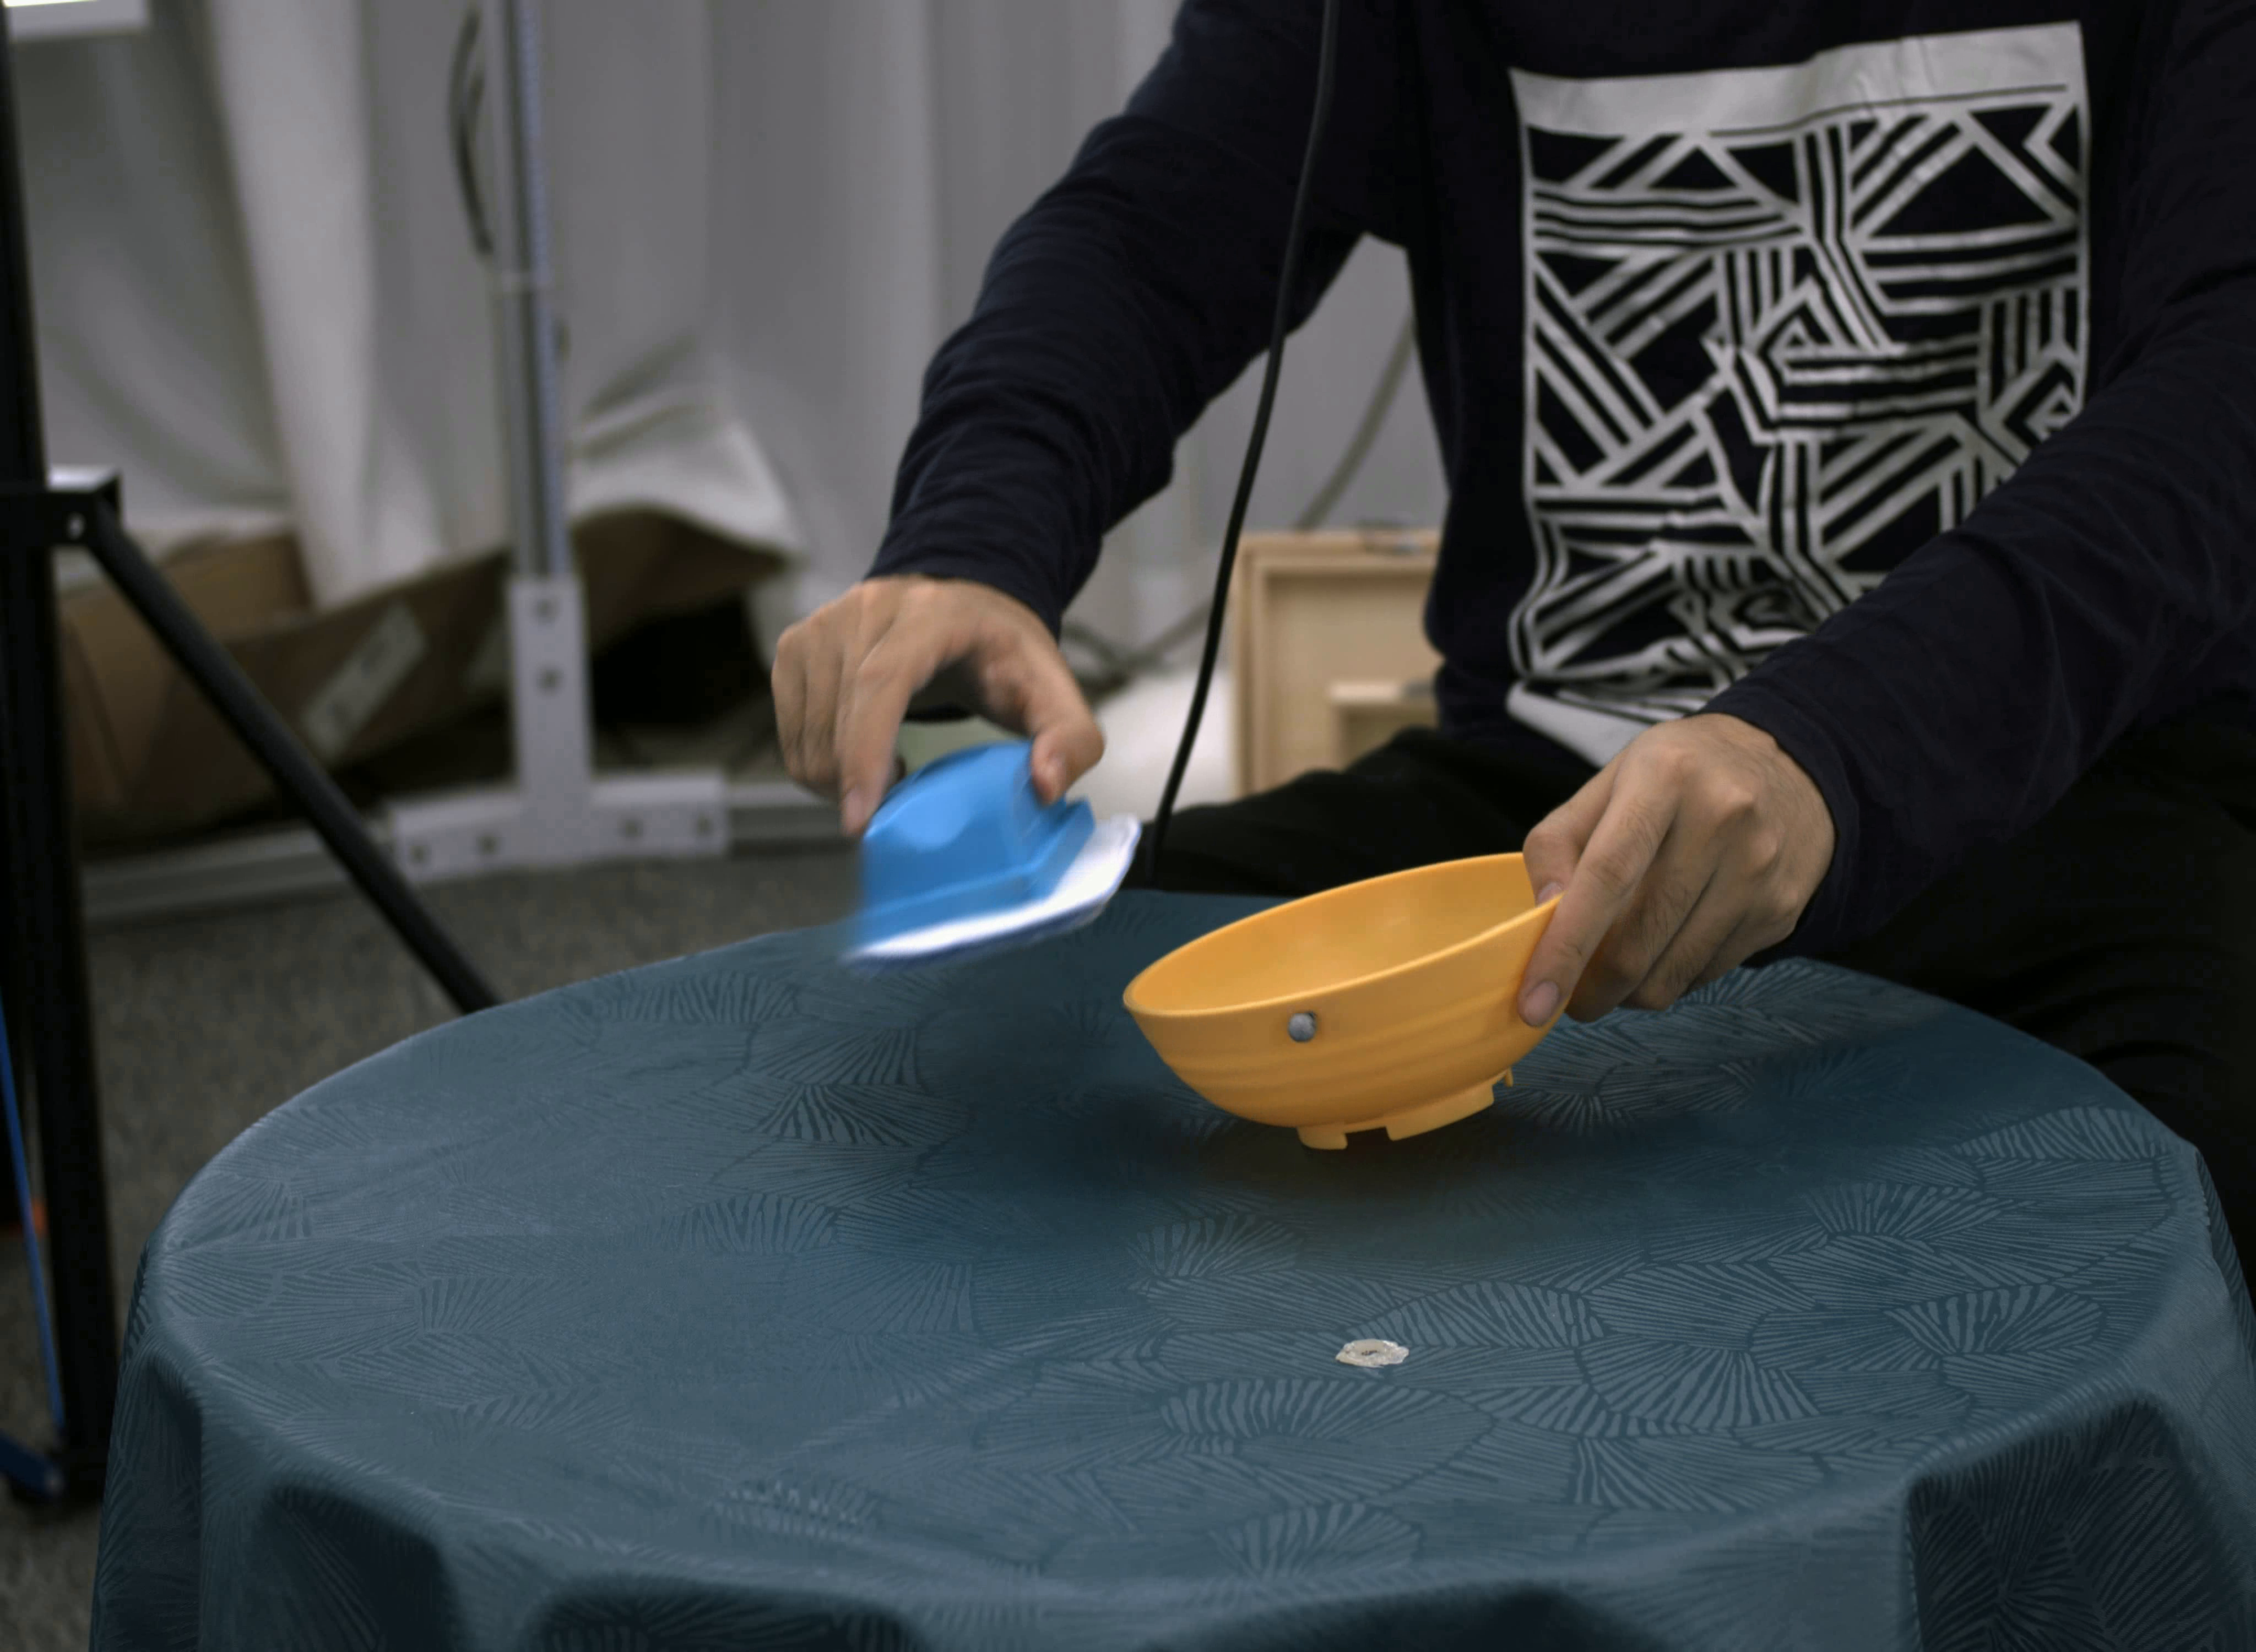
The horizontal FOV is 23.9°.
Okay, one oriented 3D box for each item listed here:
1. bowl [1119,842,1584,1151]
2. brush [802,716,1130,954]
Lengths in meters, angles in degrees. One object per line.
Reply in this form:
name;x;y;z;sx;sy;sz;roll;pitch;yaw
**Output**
bowl;0.074;0.058;1.590;0.145;0.060;0.146;-15;14;2
brush;-0.050;0.001;1.618;0.084;0.056;0.143;-10;11;12
